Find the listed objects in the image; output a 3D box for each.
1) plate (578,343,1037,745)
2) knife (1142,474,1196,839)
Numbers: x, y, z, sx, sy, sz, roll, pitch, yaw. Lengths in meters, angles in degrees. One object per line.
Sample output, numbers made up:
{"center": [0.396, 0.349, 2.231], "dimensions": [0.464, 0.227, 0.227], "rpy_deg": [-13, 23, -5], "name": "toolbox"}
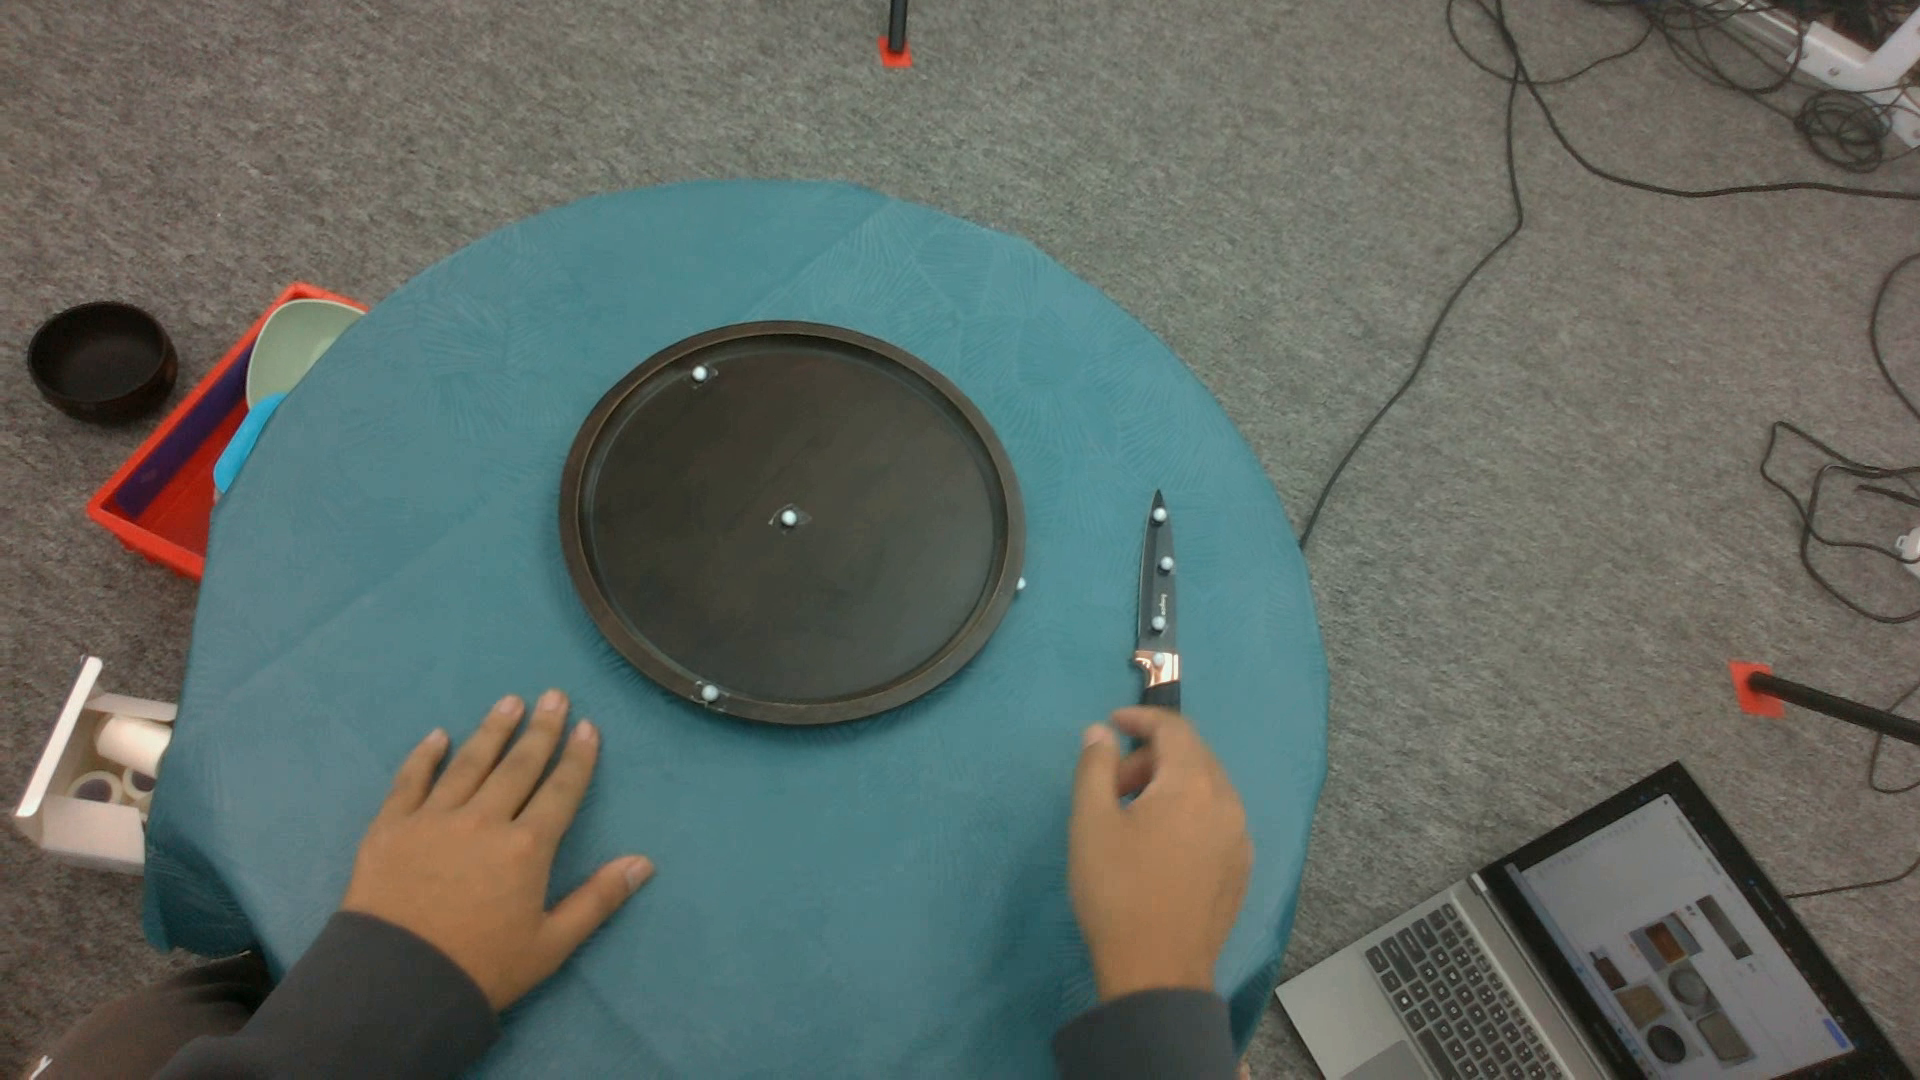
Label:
{"center": [-0.082, -0.004, 0.770], "dimensions": [0.255, 0.029, 0.256], "rpy_deg": [5, 61, -8], "name": "plate"}
{"center": [0.117, 0.058, 0.776], "dimensions": [0.026, 0.017, 0.226], "rpy_deg": [3, 60, -1], "name": "knife"}
